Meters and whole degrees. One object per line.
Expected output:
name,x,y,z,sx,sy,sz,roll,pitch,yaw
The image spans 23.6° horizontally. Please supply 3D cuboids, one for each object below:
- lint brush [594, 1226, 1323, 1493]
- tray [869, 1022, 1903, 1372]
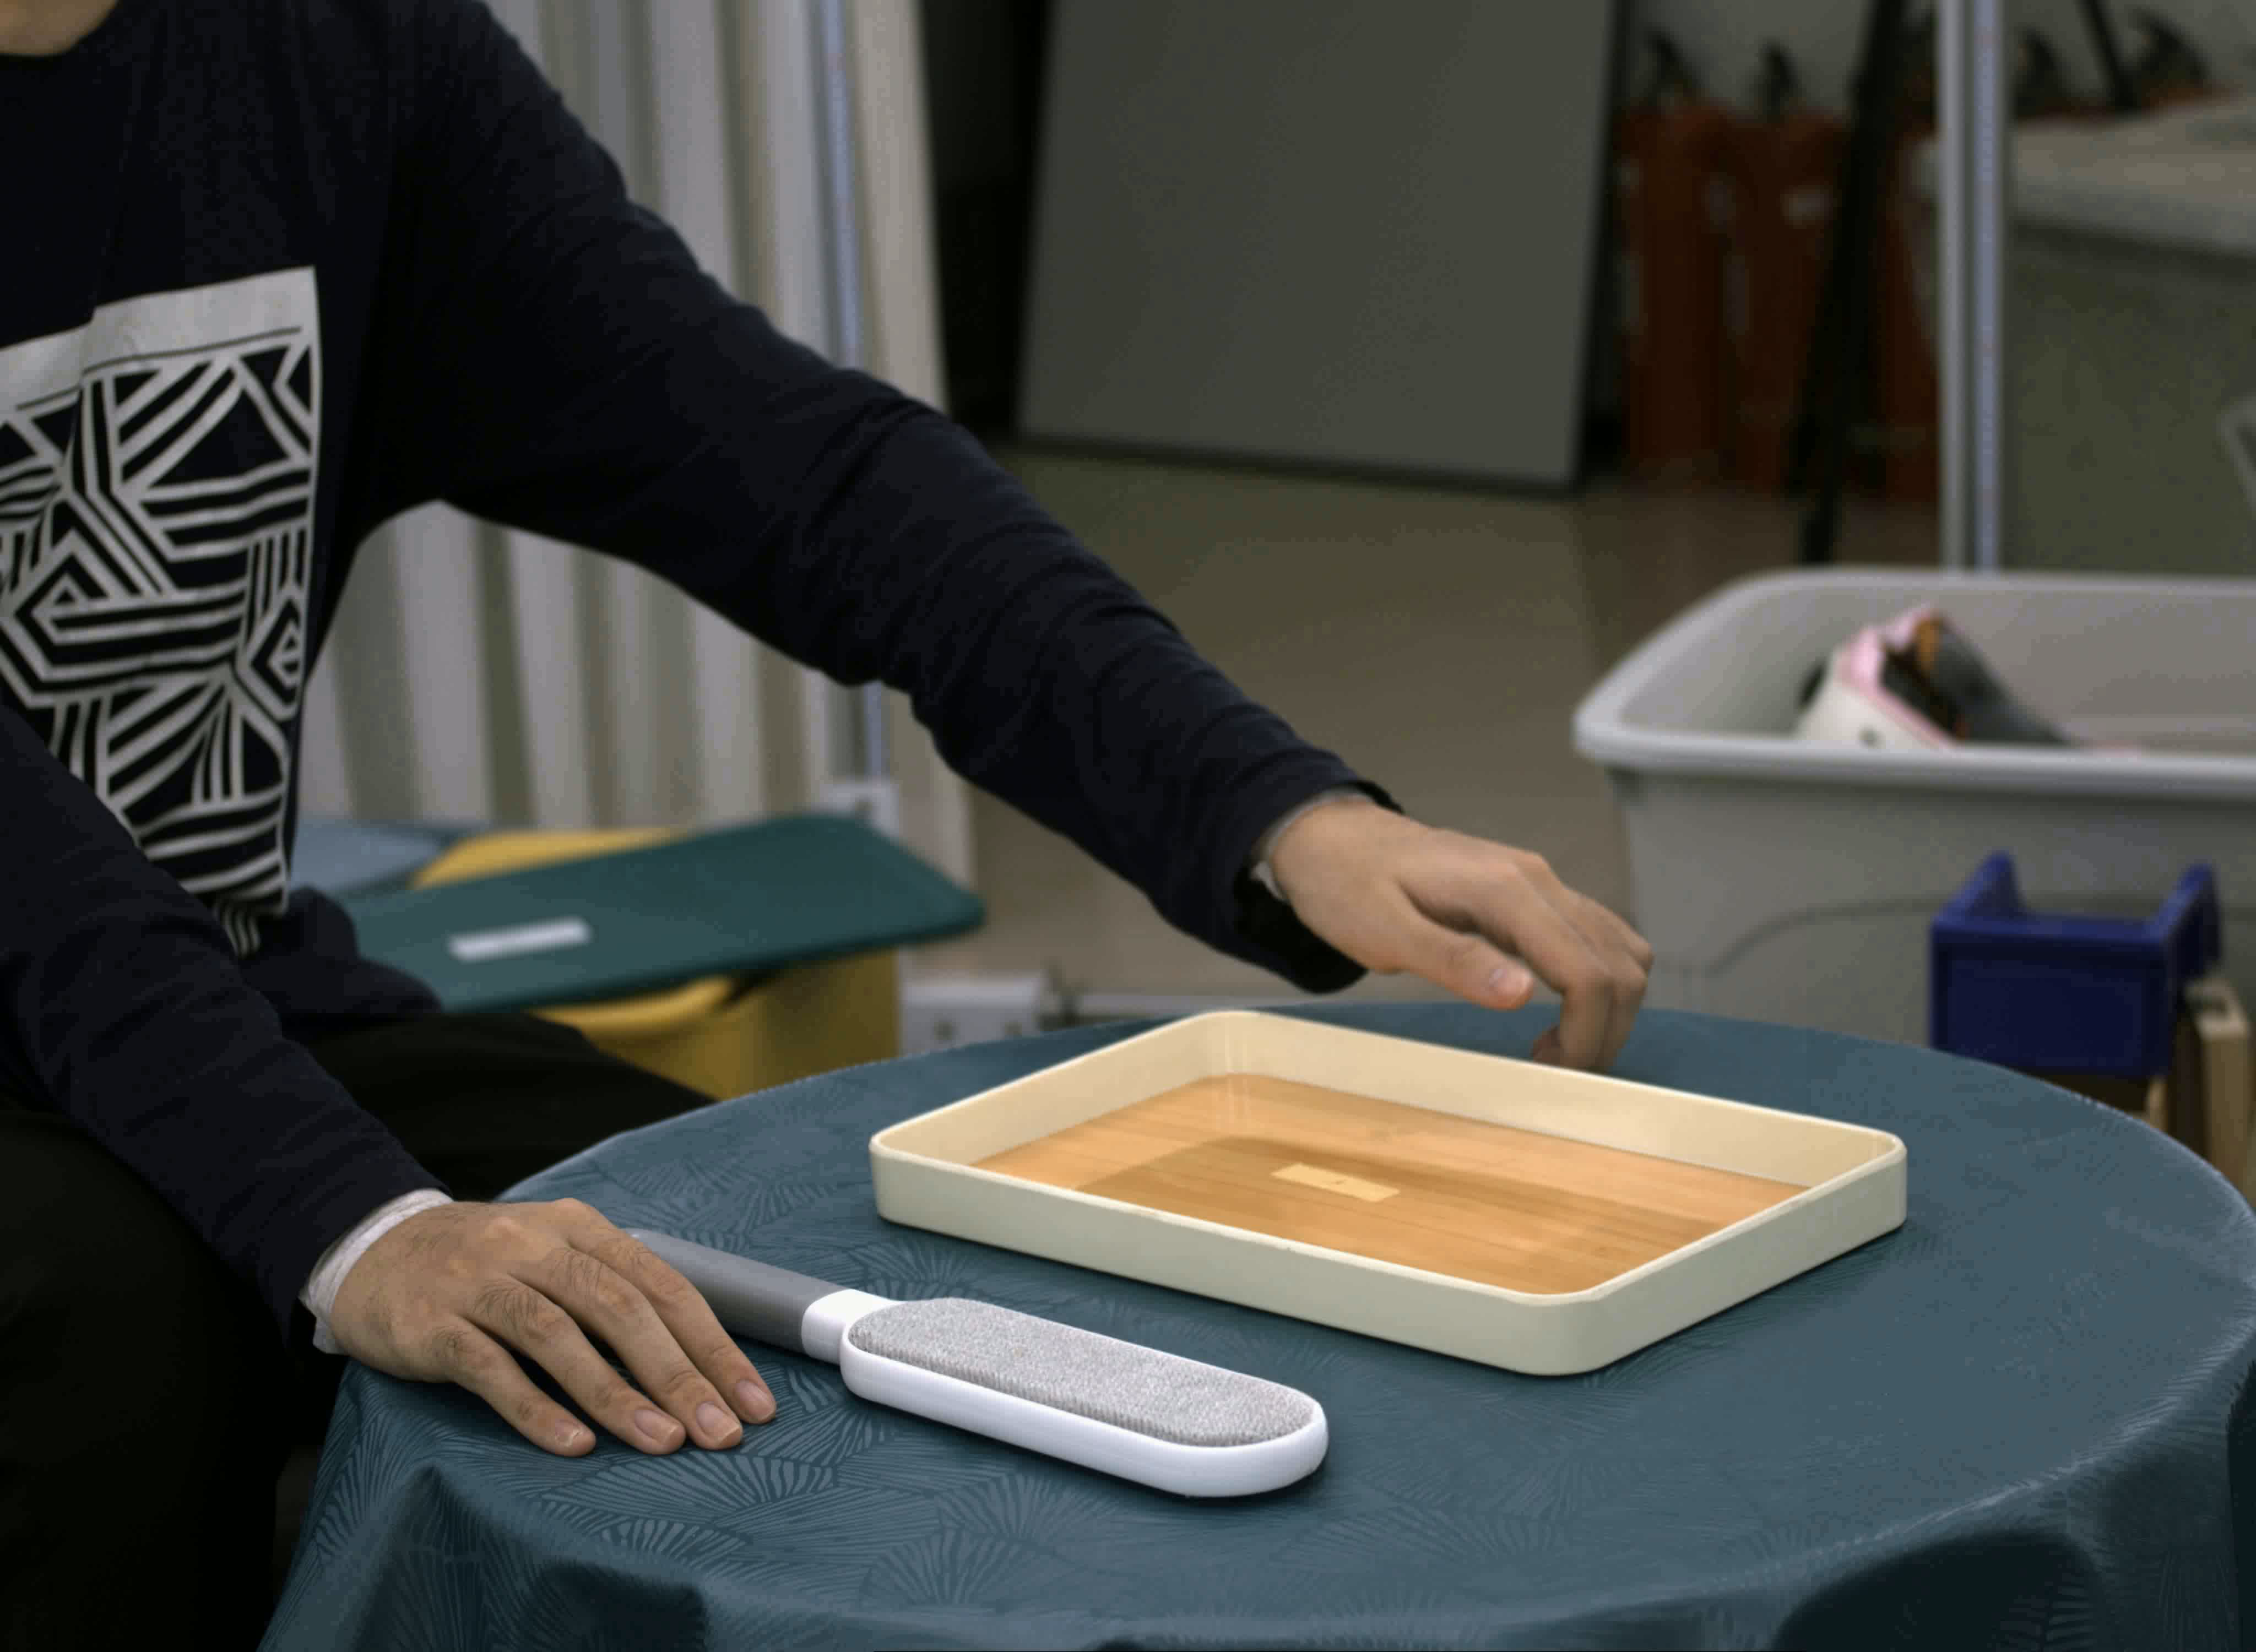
lint brush,-0.058,0.154,1.601,0.059,0.021,0.312,-23,22,-39
tray,0.080,0.114,1.724,0.303,0.028,0.187,8,18,44
